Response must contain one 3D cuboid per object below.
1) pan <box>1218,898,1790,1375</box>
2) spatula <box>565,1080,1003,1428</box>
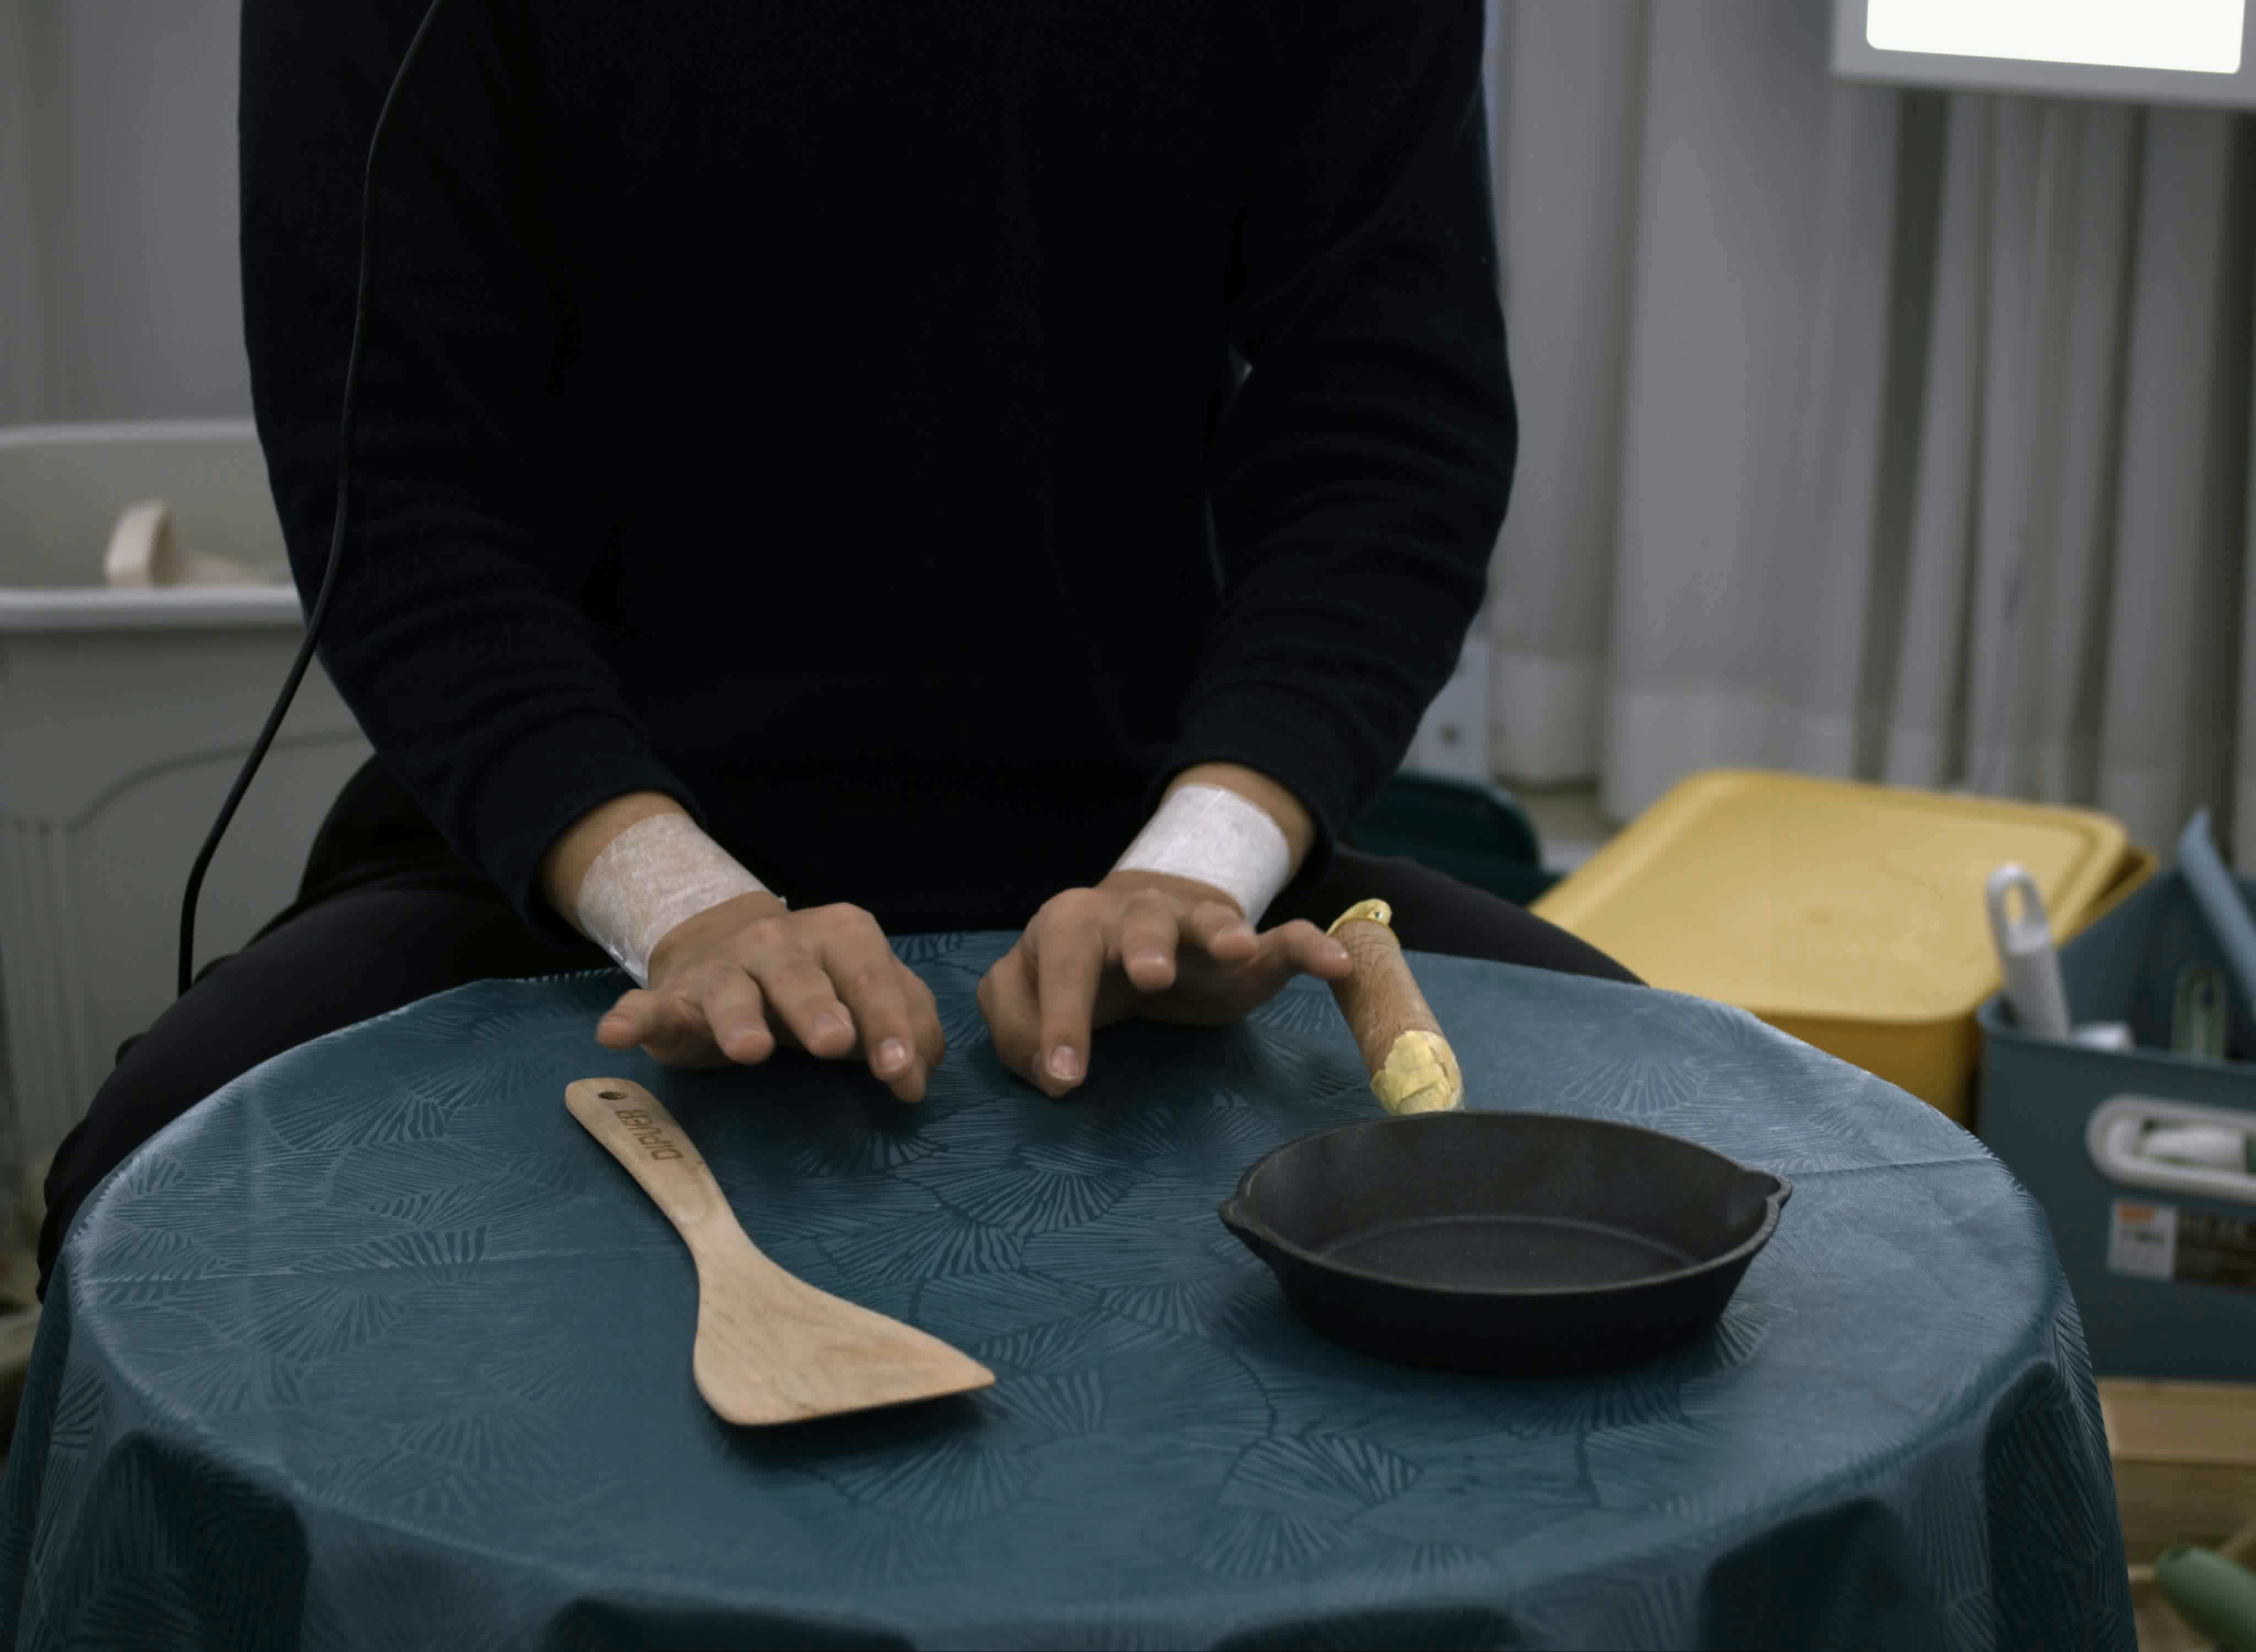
[{"bbox_3d":[0.099,0.091,1.607,0.169,0.050,0.321,-2,17,-7],"label":"pan"},{"bbox_3d":[-0.118,0.121,1.556,0.080,0.016,0.324,-4,16,-19],"label":"spatula"}]
